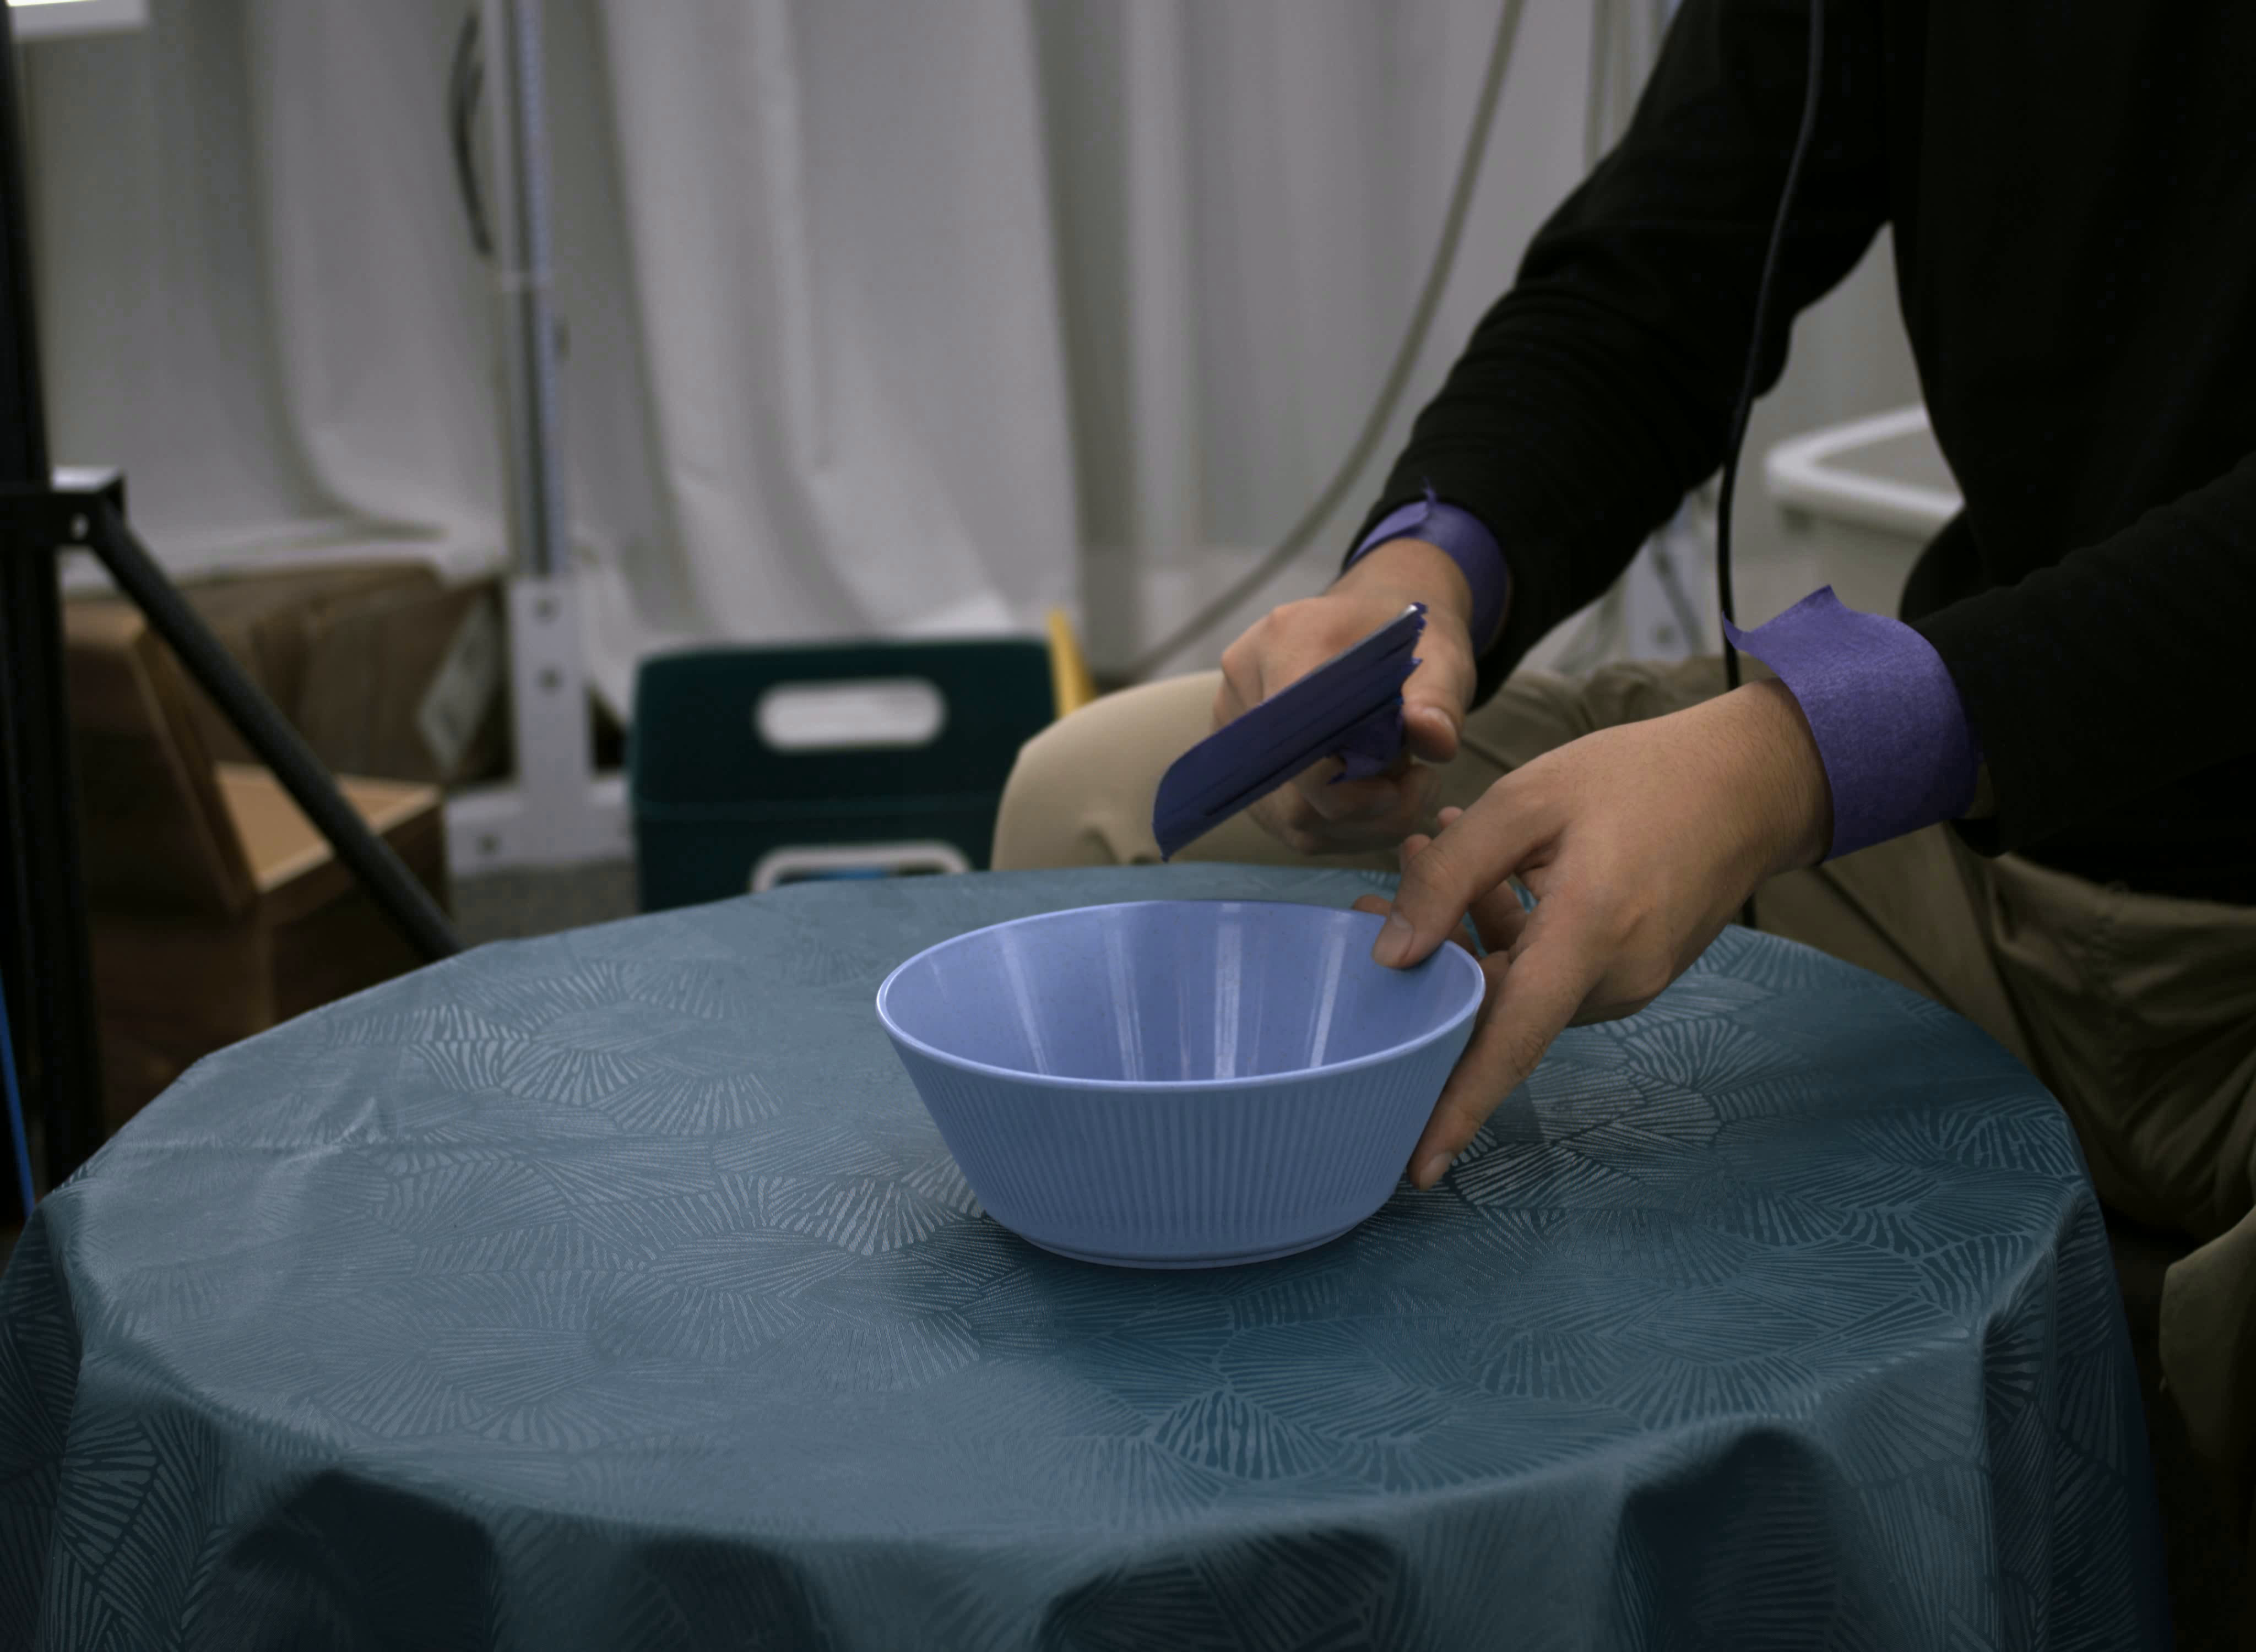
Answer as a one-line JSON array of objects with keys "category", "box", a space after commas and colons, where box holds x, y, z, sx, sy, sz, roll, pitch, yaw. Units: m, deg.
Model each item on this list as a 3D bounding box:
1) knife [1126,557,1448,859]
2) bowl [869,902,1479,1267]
[{"category": "knife", "box": [0.046, -0.025, 1.627, 0.103, 0.032, 0.314, -32, -9, -4]}, {"category": "bowl", "box": [0.013, 0.077, 1.533, 0.175, 0.070, 0.177, -1, 16, -1]}]
